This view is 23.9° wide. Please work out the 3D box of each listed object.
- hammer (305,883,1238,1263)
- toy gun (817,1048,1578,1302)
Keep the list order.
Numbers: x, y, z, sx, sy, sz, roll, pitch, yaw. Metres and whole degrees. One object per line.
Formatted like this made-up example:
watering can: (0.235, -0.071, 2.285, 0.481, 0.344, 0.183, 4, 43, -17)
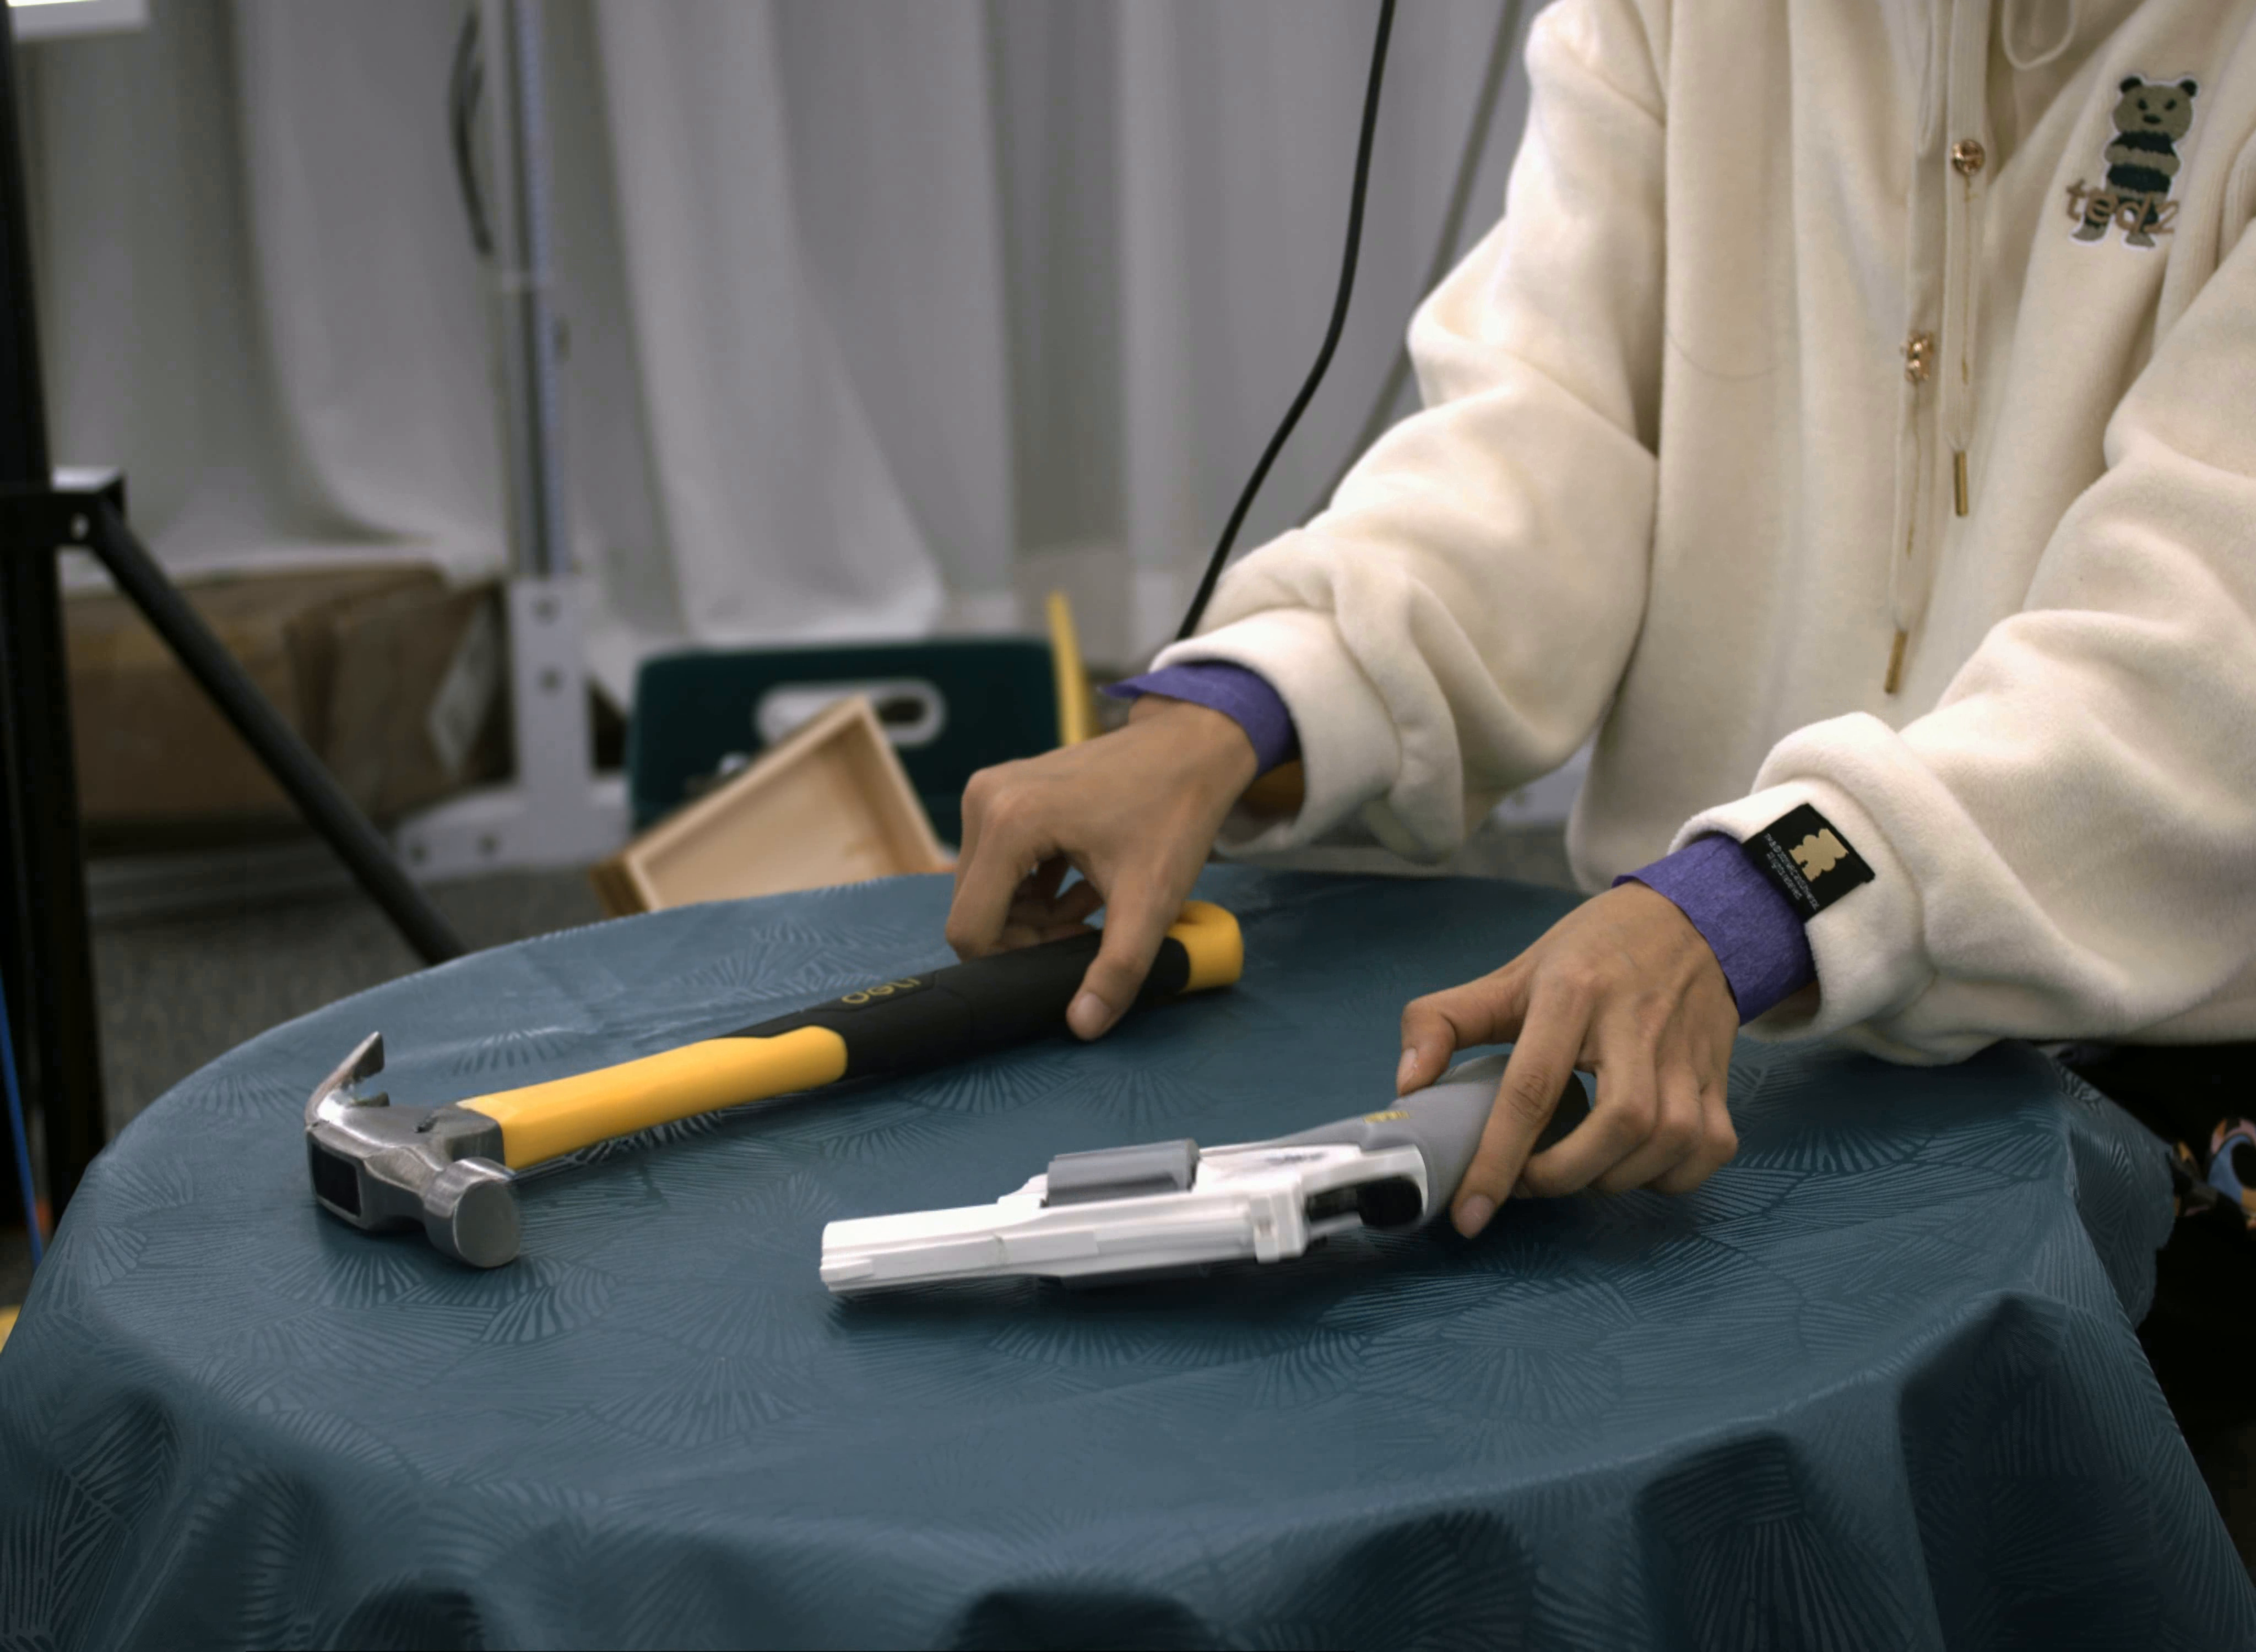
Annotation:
hammer: (-0.102, 0.066, 1.654, 0.331, 0.032, 0.134, -16, 18, -35)
toy gun: (0.023, 0.101, 1.507, 0.209, 0.039, 0.141, -8, 6, 9)
